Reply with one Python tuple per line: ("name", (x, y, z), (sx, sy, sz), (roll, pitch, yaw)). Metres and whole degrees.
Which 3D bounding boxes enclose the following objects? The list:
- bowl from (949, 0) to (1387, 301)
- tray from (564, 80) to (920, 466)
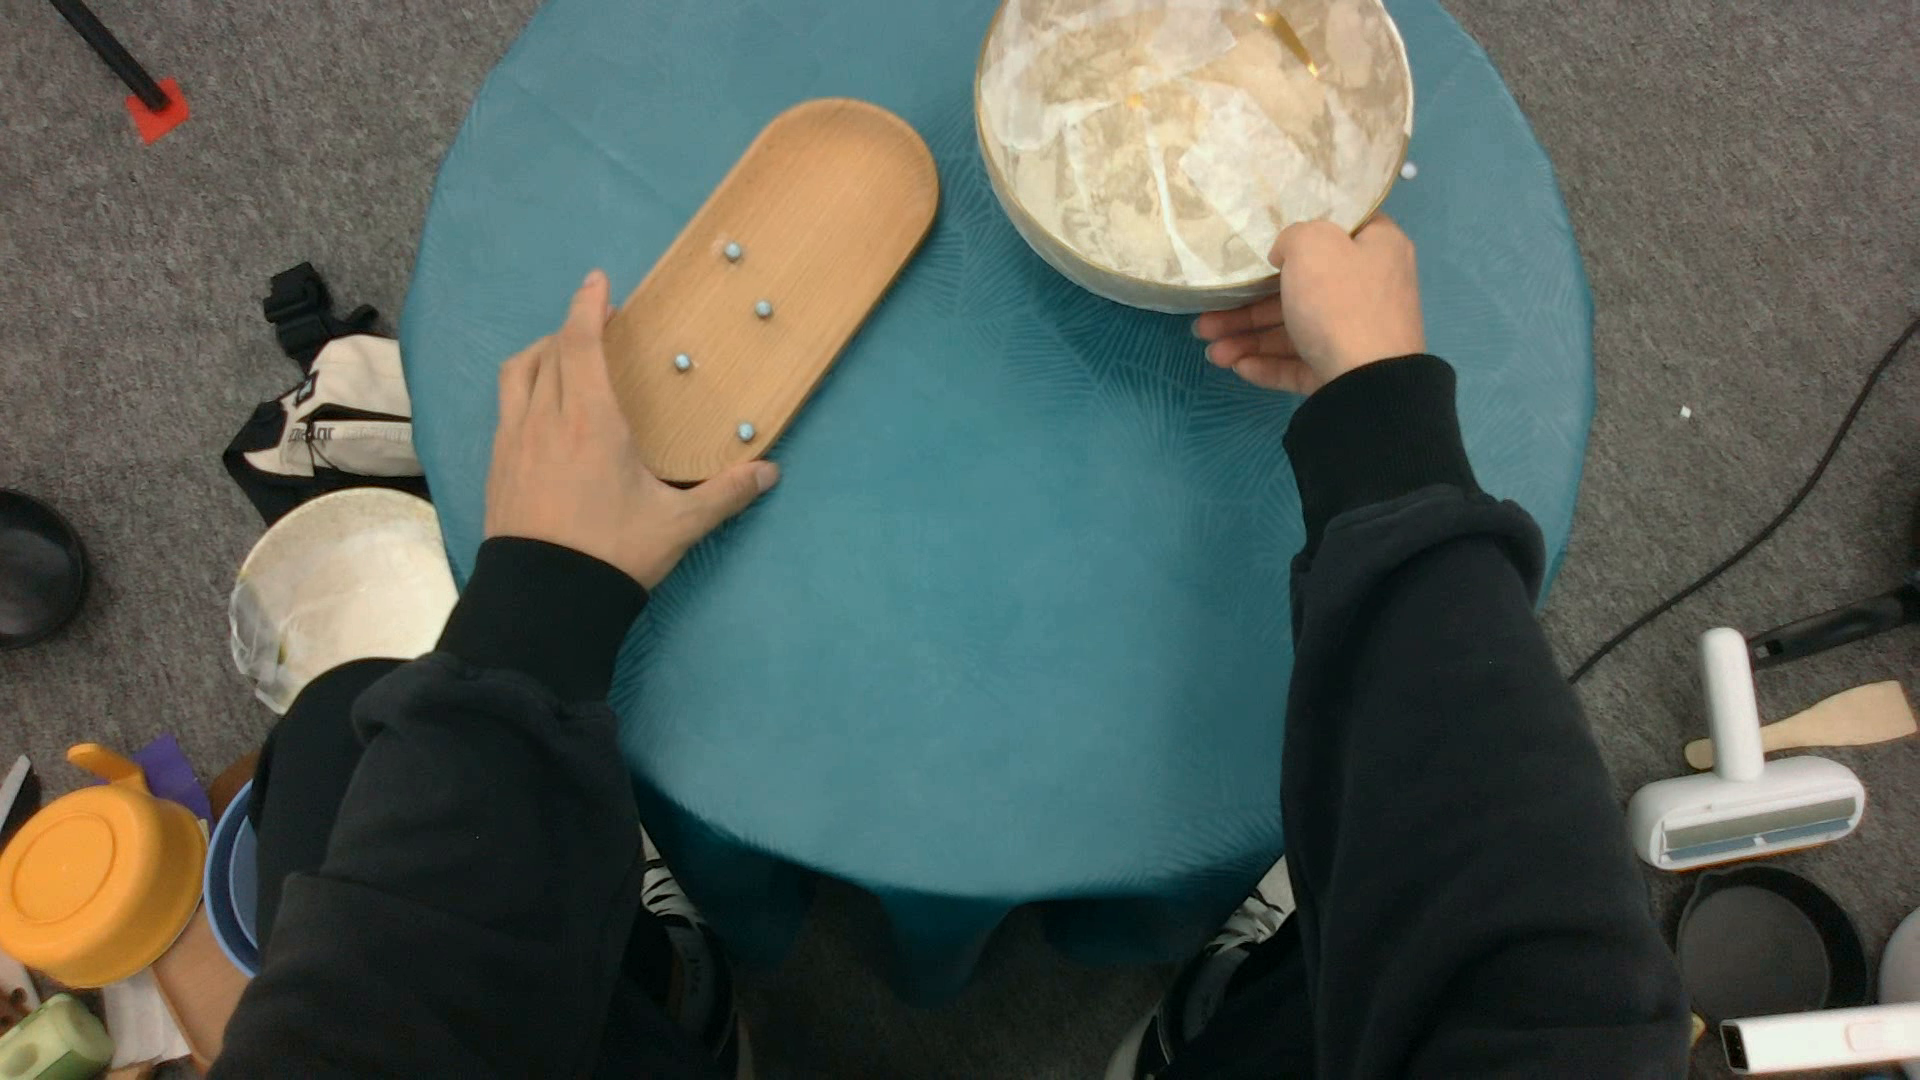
("bowl", (0.093, -0.201, 0.678), (0.215, 0.094, 0.215), (0, 76, 0))
("tray", (-0.105, -0.136, 0.688), (0.101, 0.020, 0.232), (32, 71, 2))
